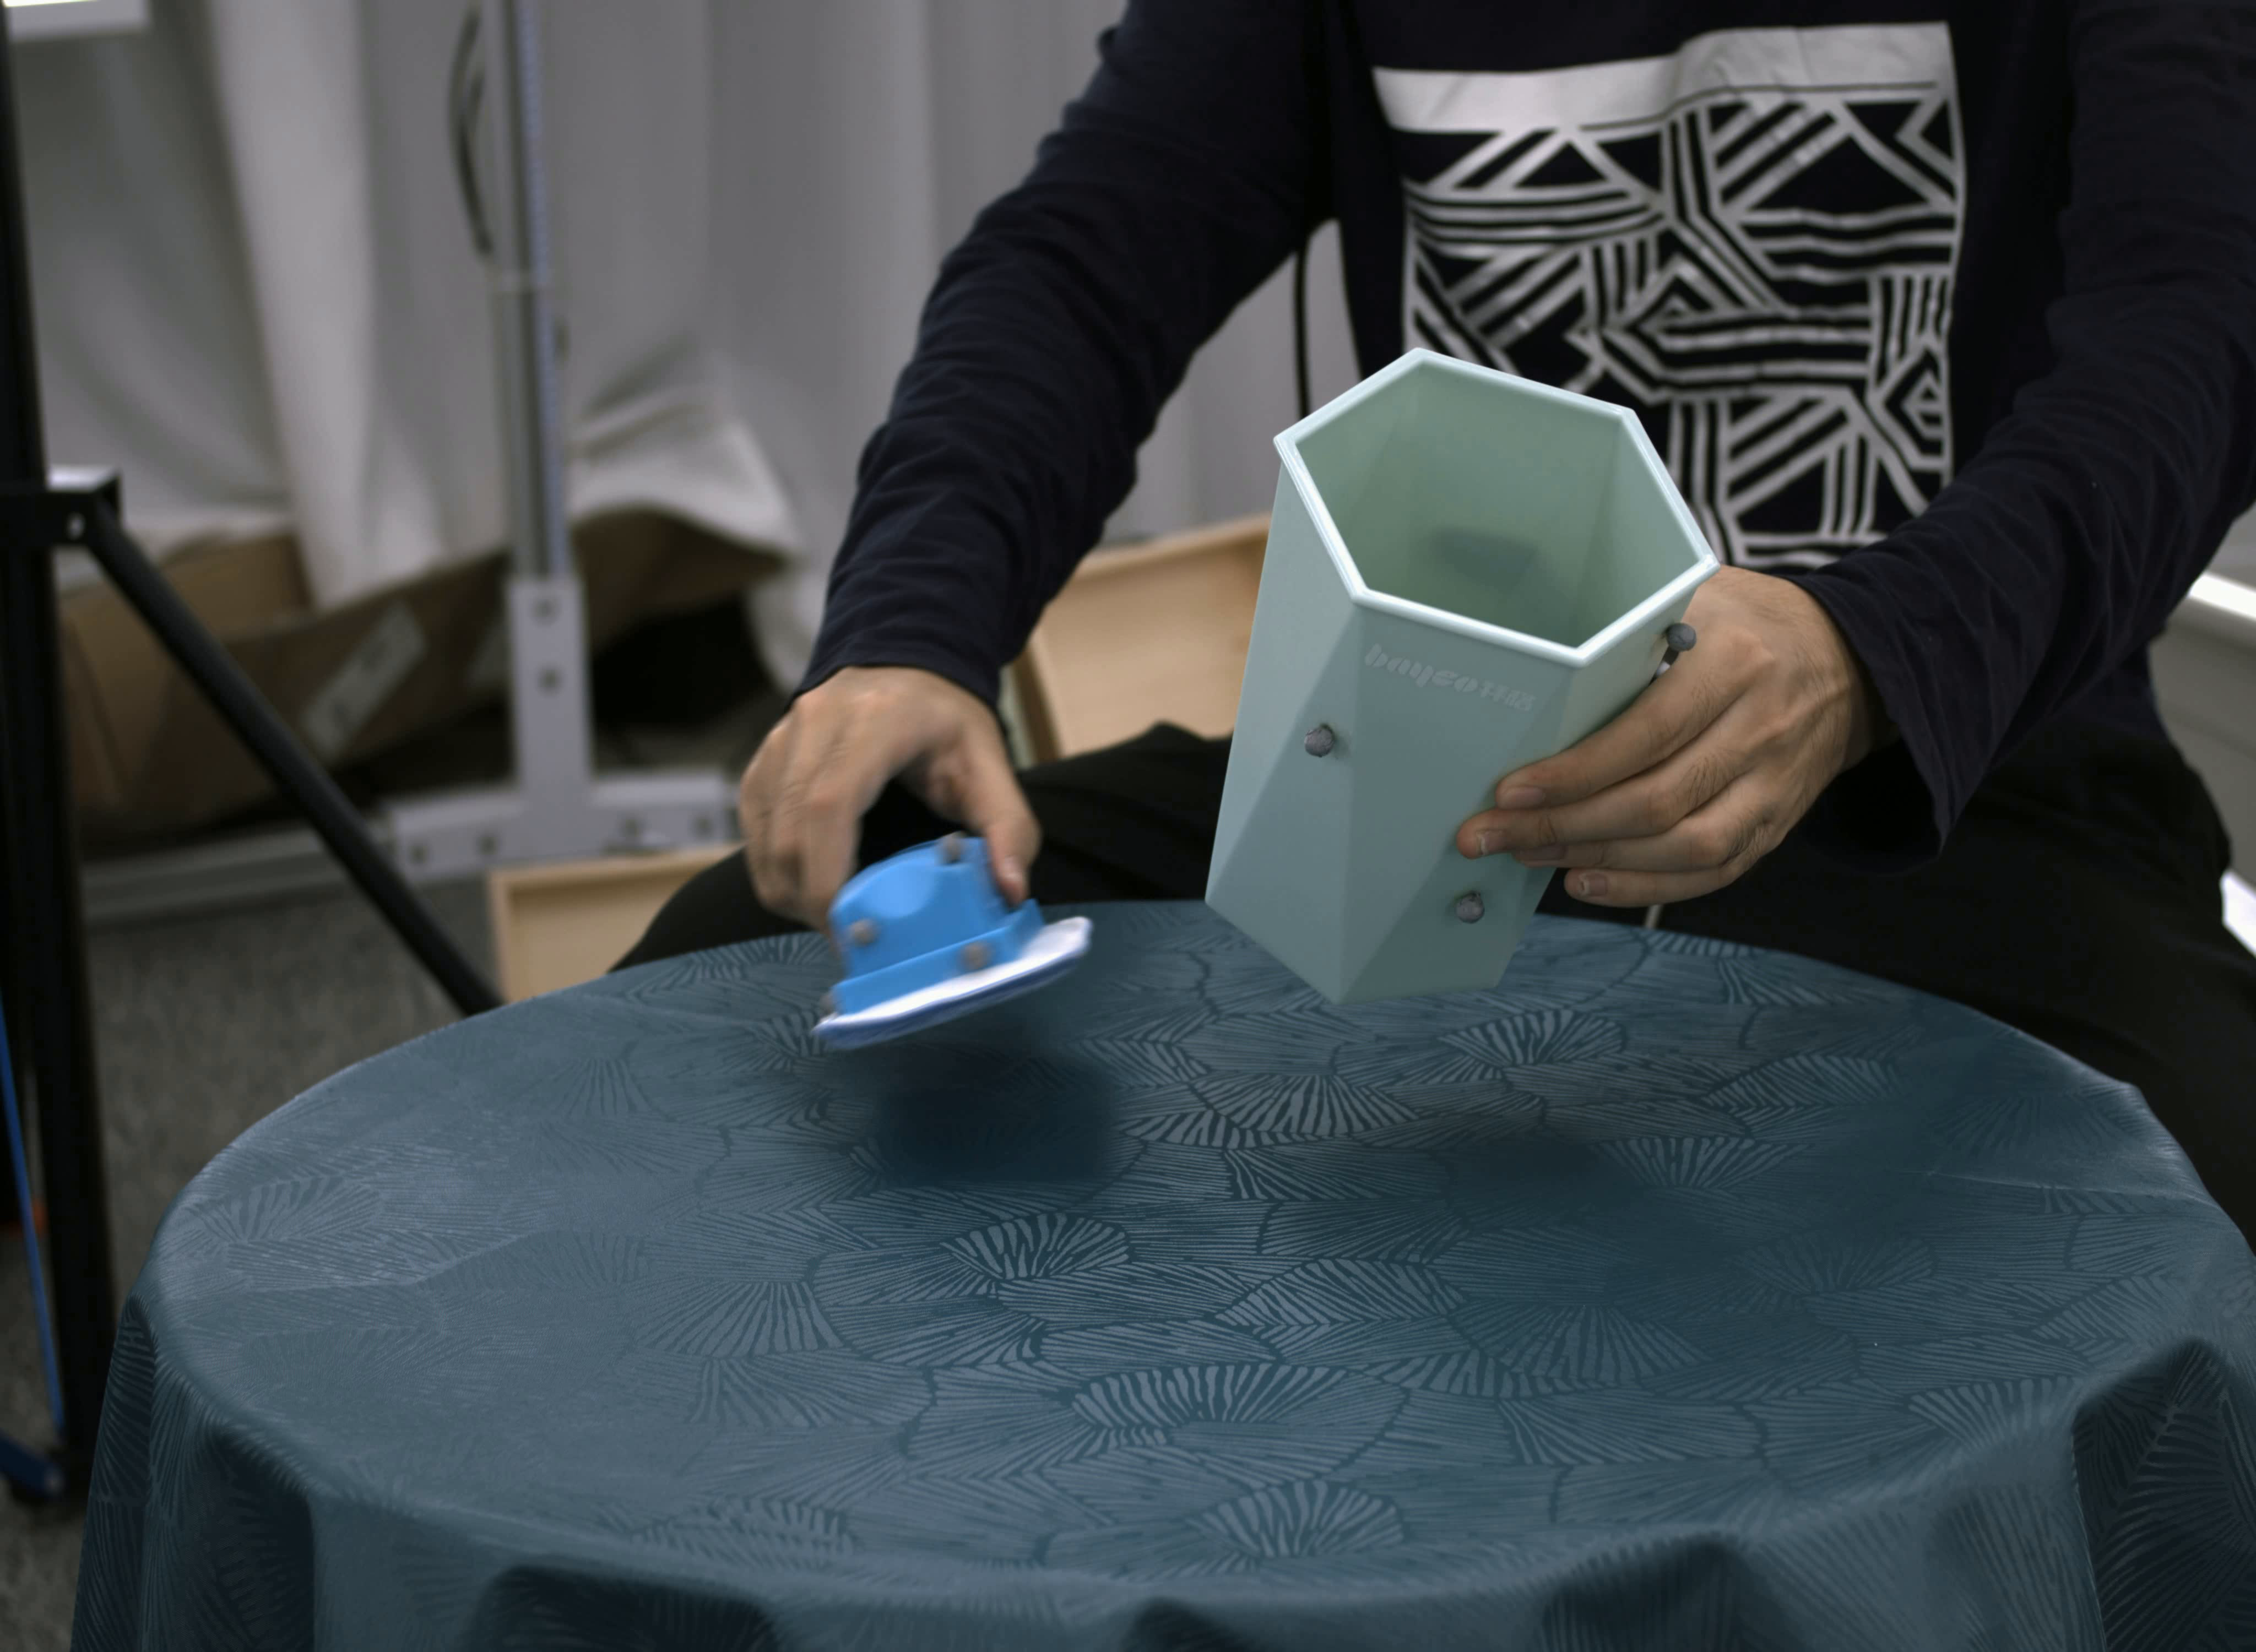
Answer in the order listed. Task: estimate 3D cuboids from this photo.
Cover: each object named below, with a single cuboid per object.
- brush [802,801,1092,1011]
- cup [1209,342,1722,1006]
[{"bbox_3d":[-0.058,0.024,1.637,0.084,0.056,0.143,-14,5,5],"label":"brush"},{"bbox_3d":[0.089,-0.036,1.552,0.130,0.163,0.115,15,43,0],"label":"cup"}]
